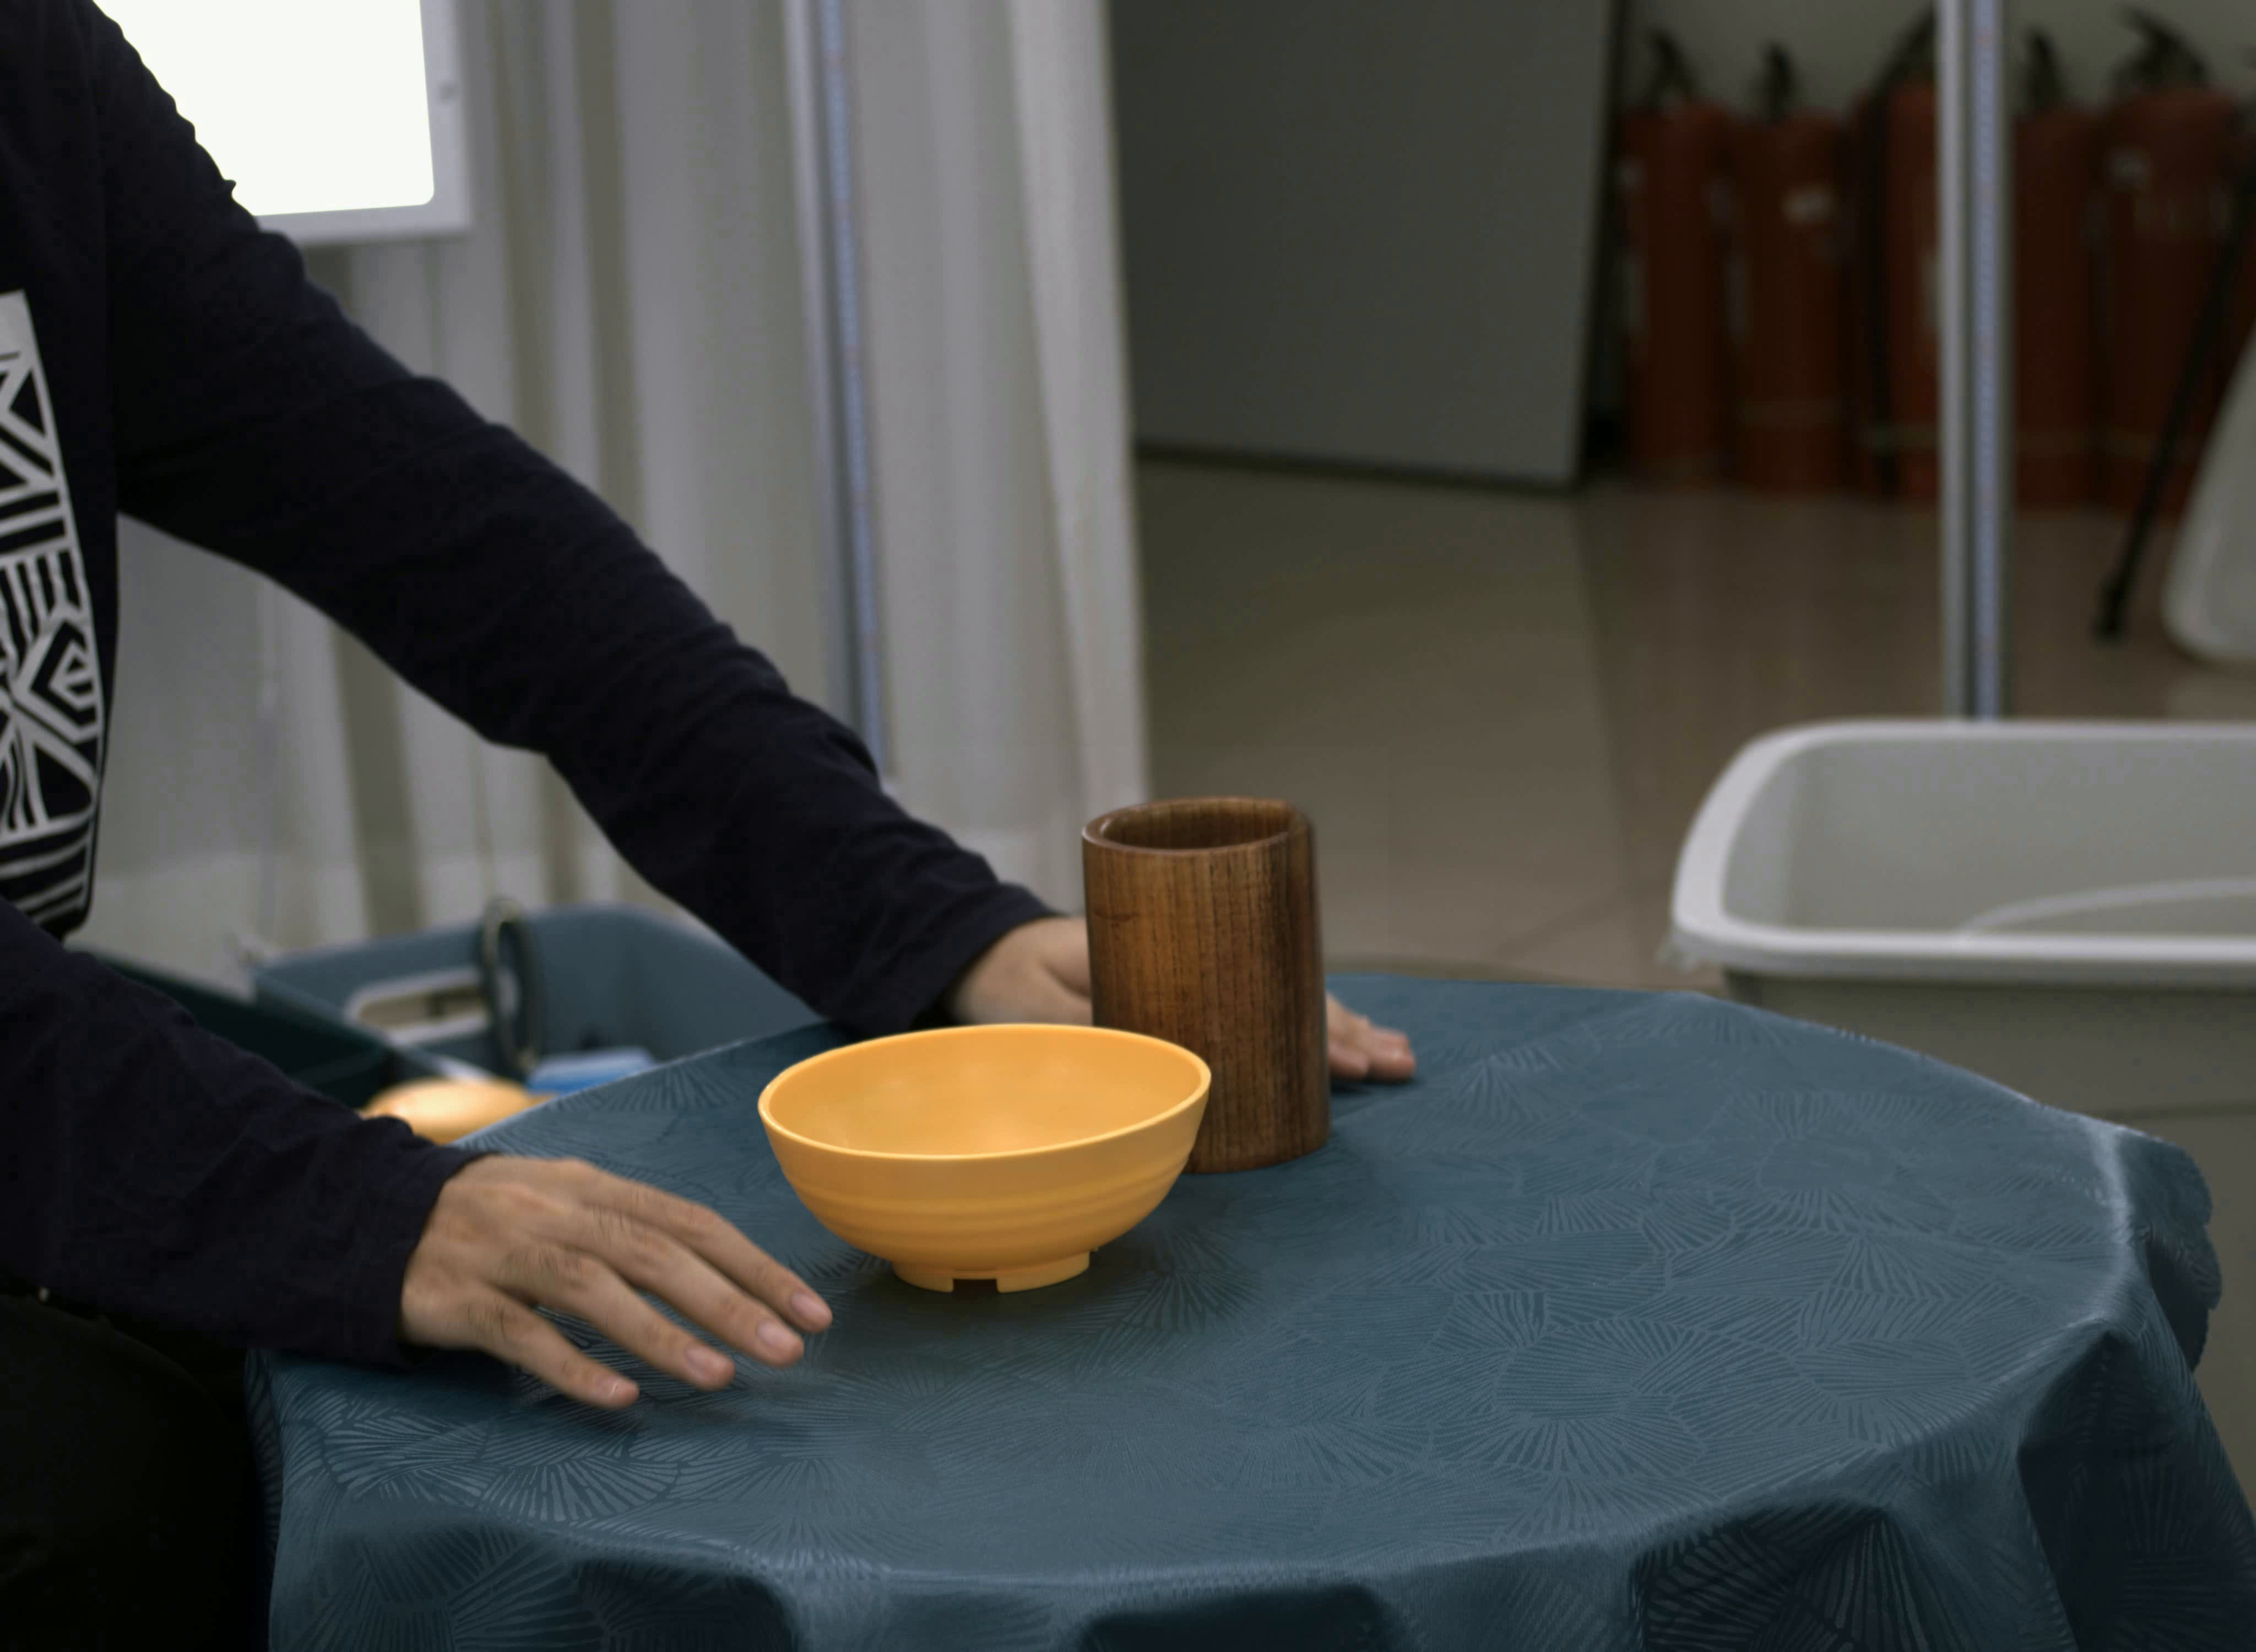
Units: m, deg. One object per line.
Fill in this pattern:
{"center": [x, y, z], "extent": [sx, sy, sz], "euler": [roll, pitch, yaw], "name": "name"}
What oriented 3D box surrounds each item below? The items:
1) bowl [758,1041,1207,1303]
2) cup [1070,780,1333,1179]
{"center": [-0.044, 0.113, 1.705], "extent": [0.143, 0.061, 0.145], "euler": [-5, 11, 0], "name": "bowl"}
{"center": [0.026, 0.051, 1.808], "extent": [0.086, 0.120, 0.088], "euler": [-4, 11, 0], "name": "cup"}
